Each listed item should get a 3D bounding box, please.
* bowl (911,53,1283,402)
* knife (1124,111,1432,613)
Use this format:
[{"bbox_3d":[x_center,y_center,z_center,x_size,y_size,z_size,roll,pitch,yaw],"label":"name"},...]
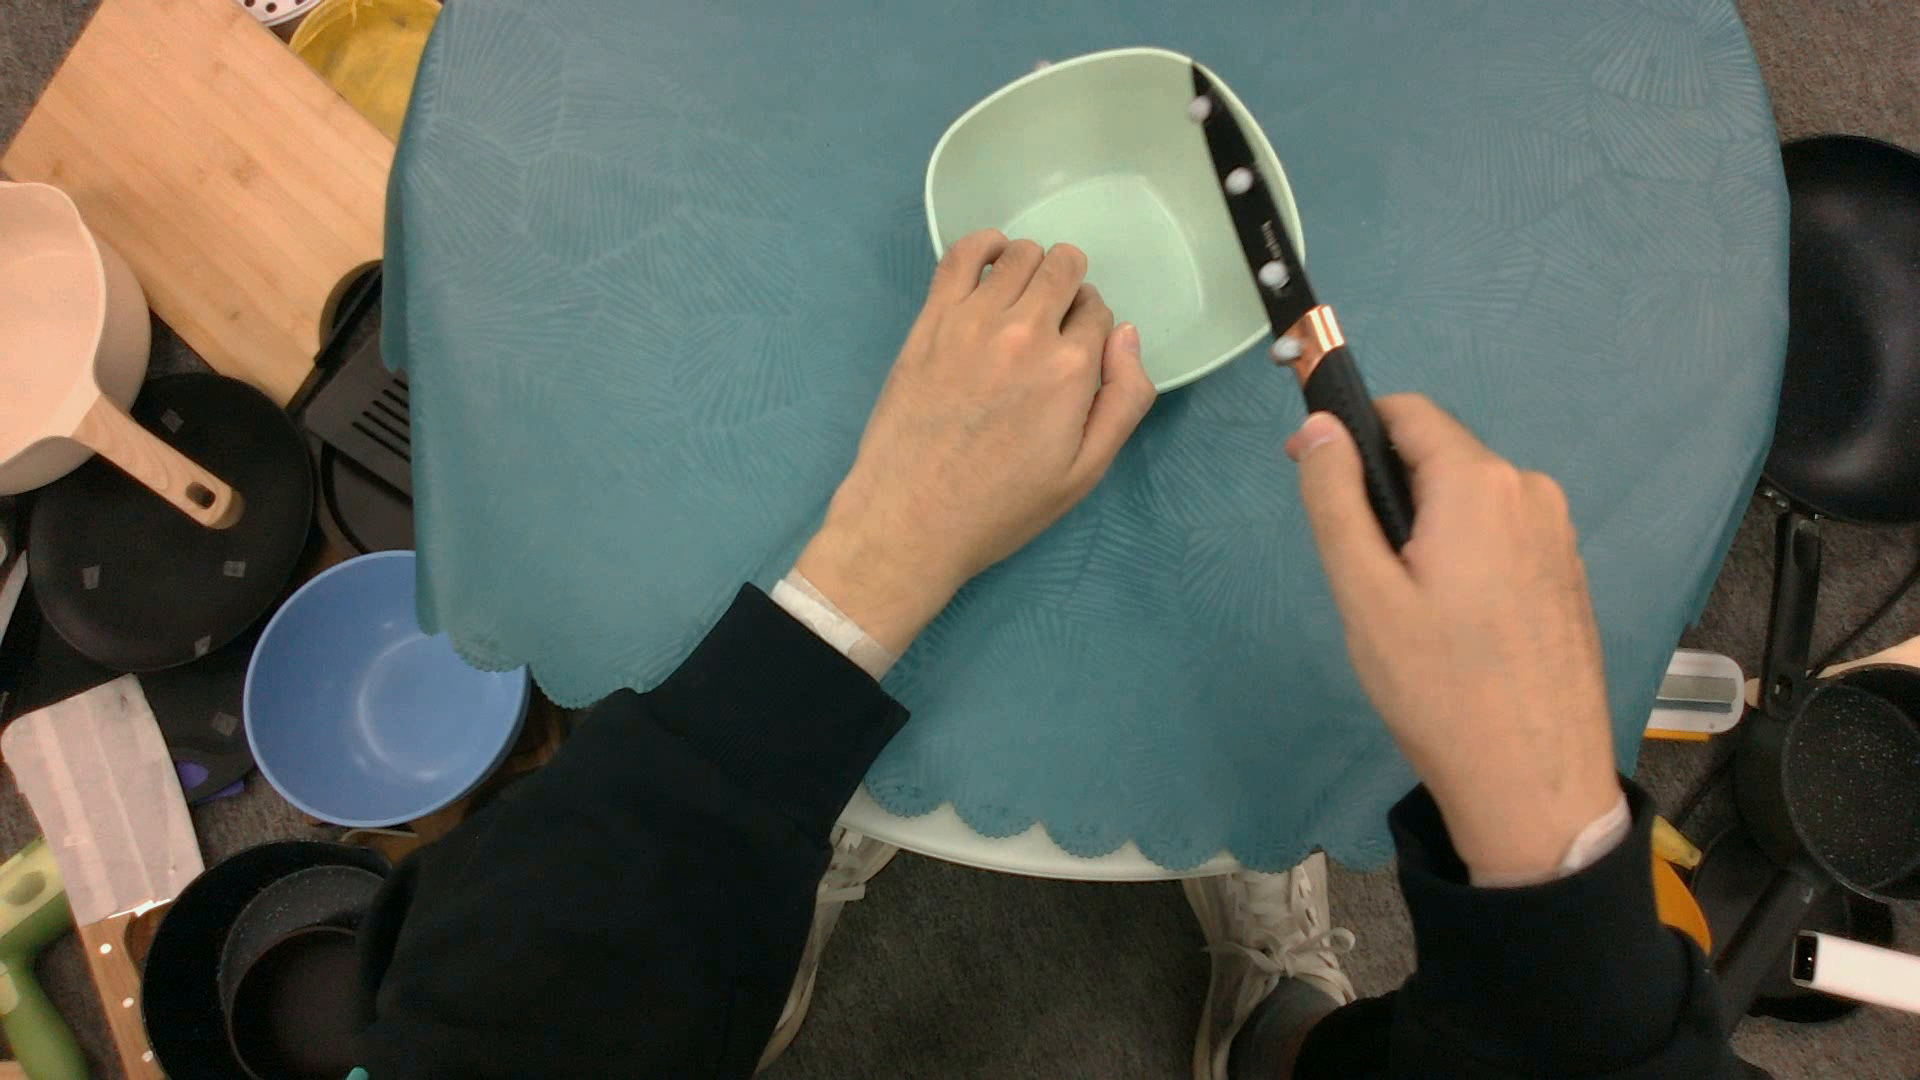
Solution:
[{"bbox_3d":[0.052,-0.119,0.564,0.151,0.058,0.152,1,78,-3],"label":"bowl"},{"bbox_3d":[0.102,-0.072,0.470,0.017,0.026,0.226,-6,60,-28],"label":"knife"}]
